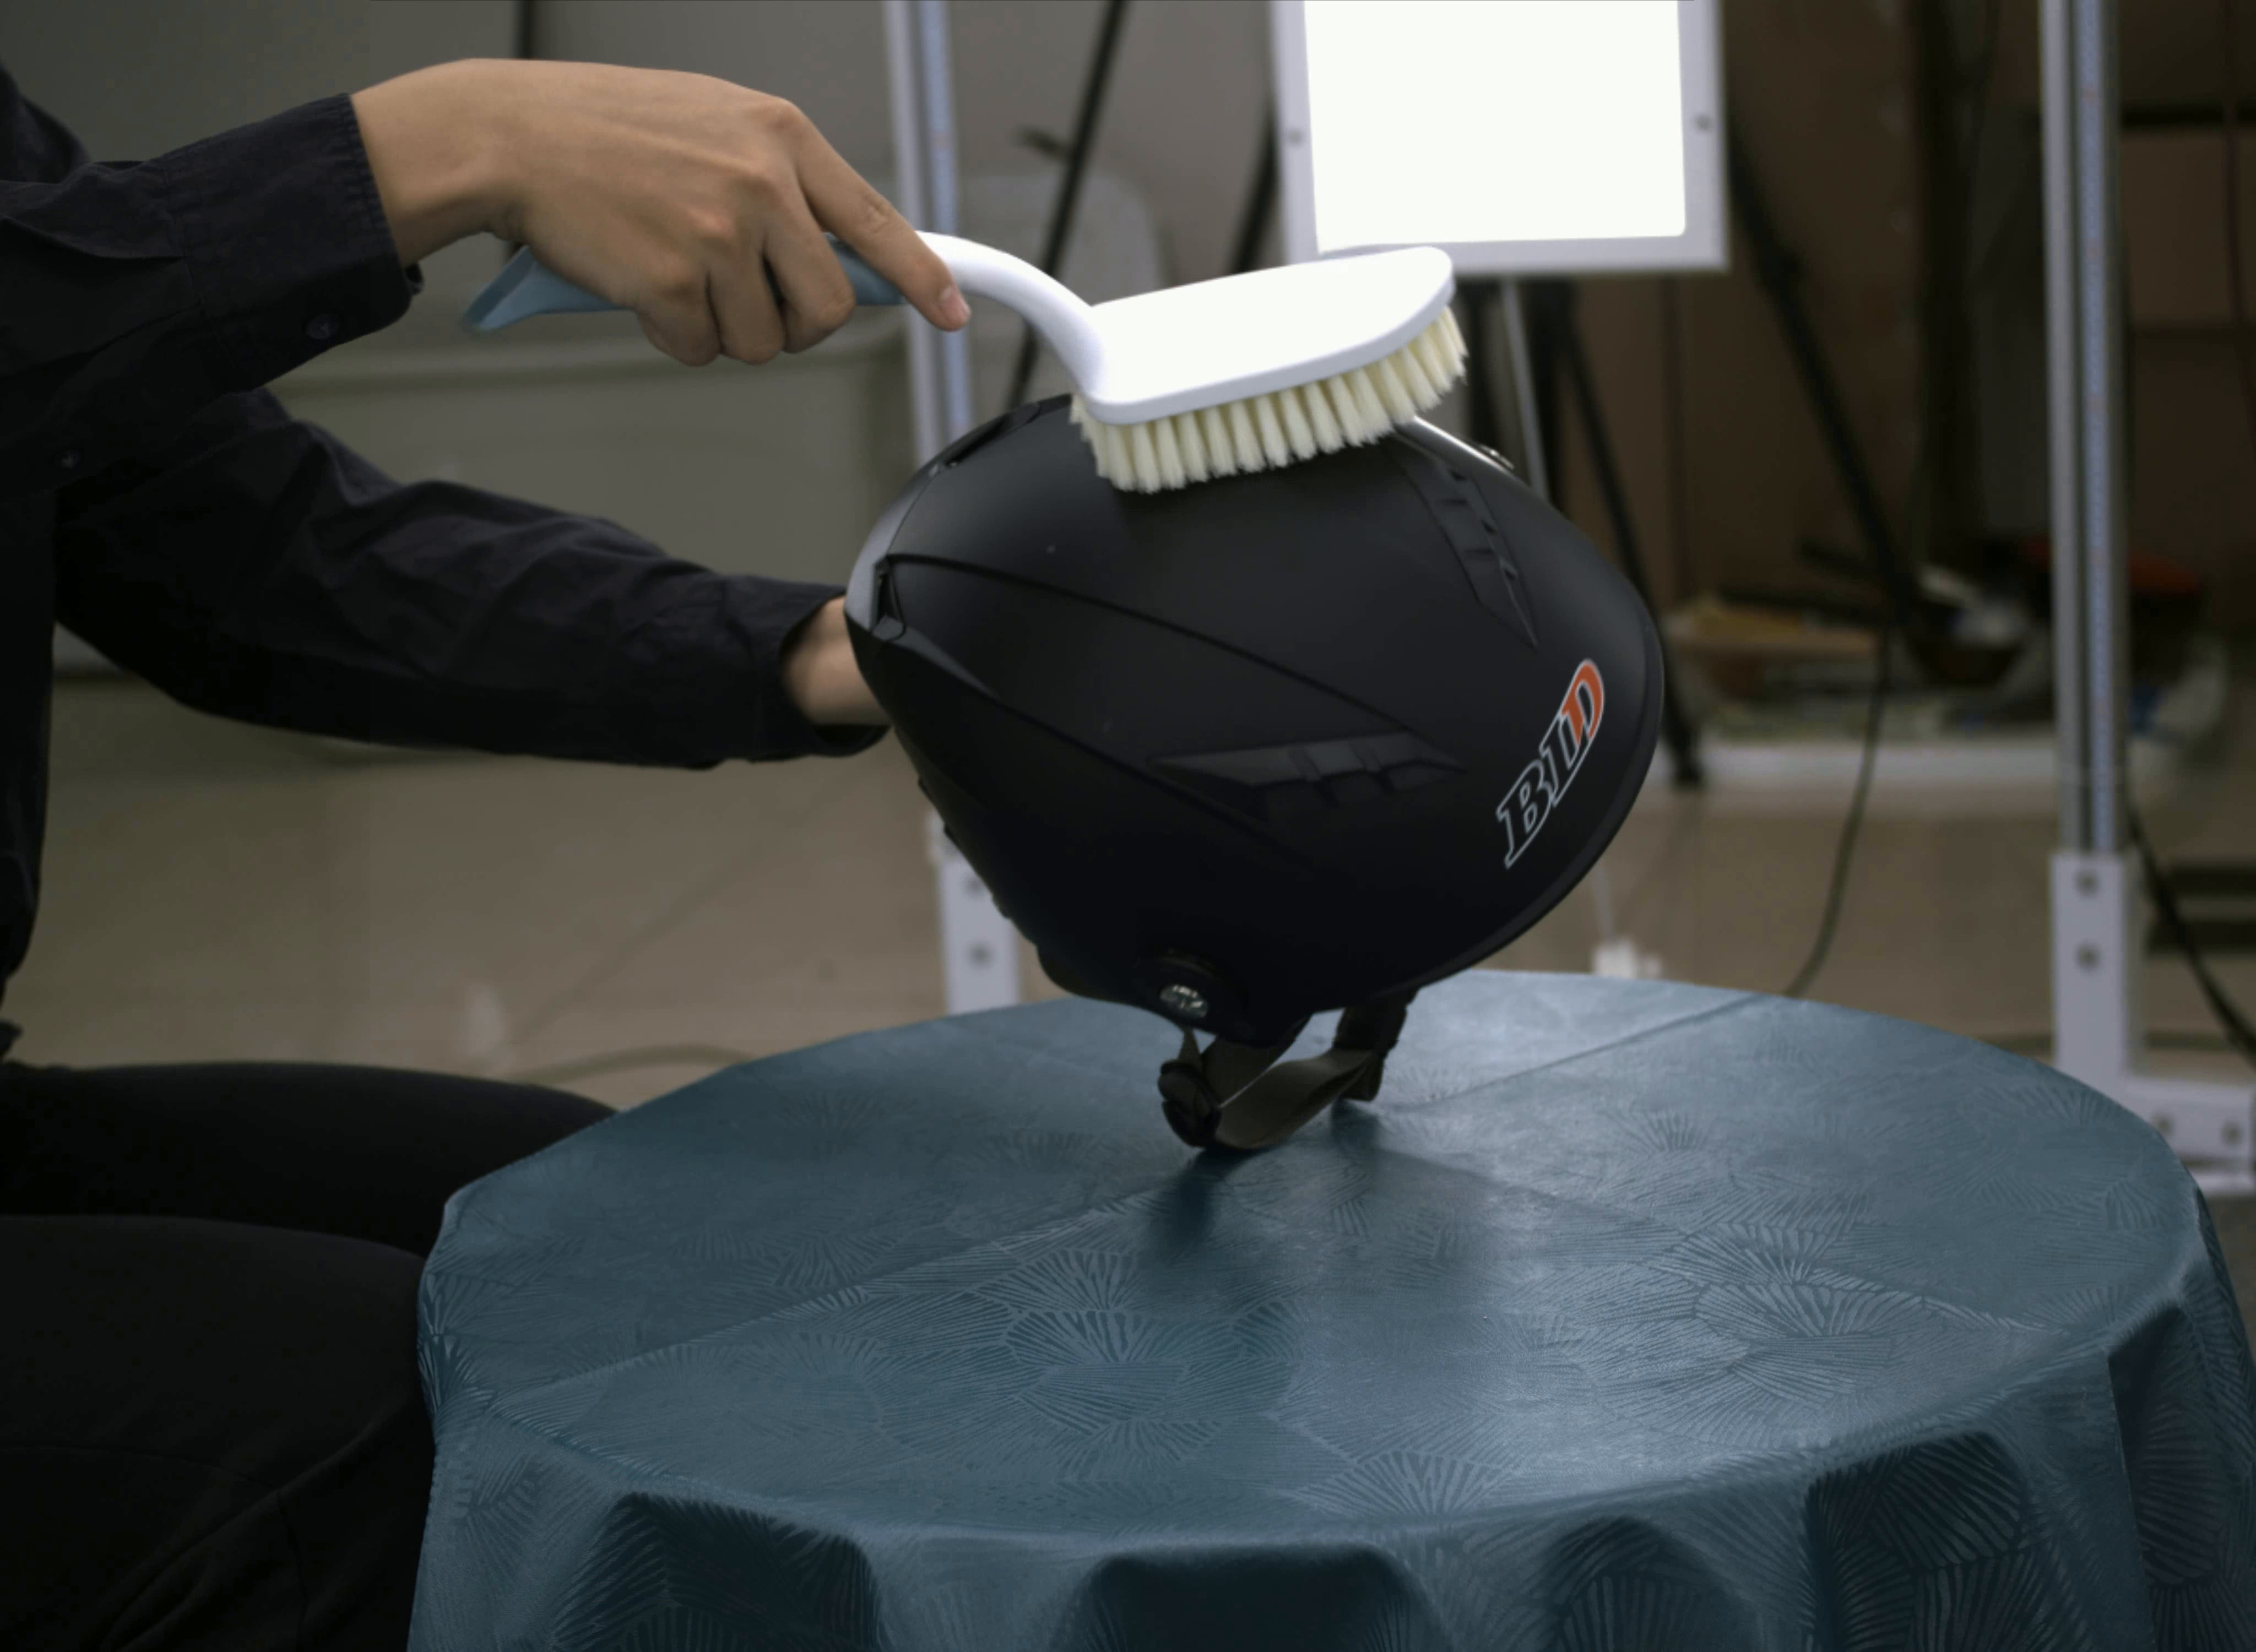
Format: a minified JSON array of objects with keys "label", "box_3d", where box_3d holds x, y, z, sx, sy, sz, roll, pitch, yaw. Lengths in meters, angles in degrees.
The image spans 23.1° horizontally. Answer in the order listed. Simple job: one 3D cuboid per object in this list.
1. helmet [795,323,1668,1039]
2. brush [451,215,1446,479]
[{"label":"helmet","box_3d":[0.029,-0.063,1.851,0.282,0.170,0.245,16,68,43]},{"label":"brush","box_3d":[-0.057,-0.152,1.788,0.323,0.085,0.083,-2,-4,-6]}]
